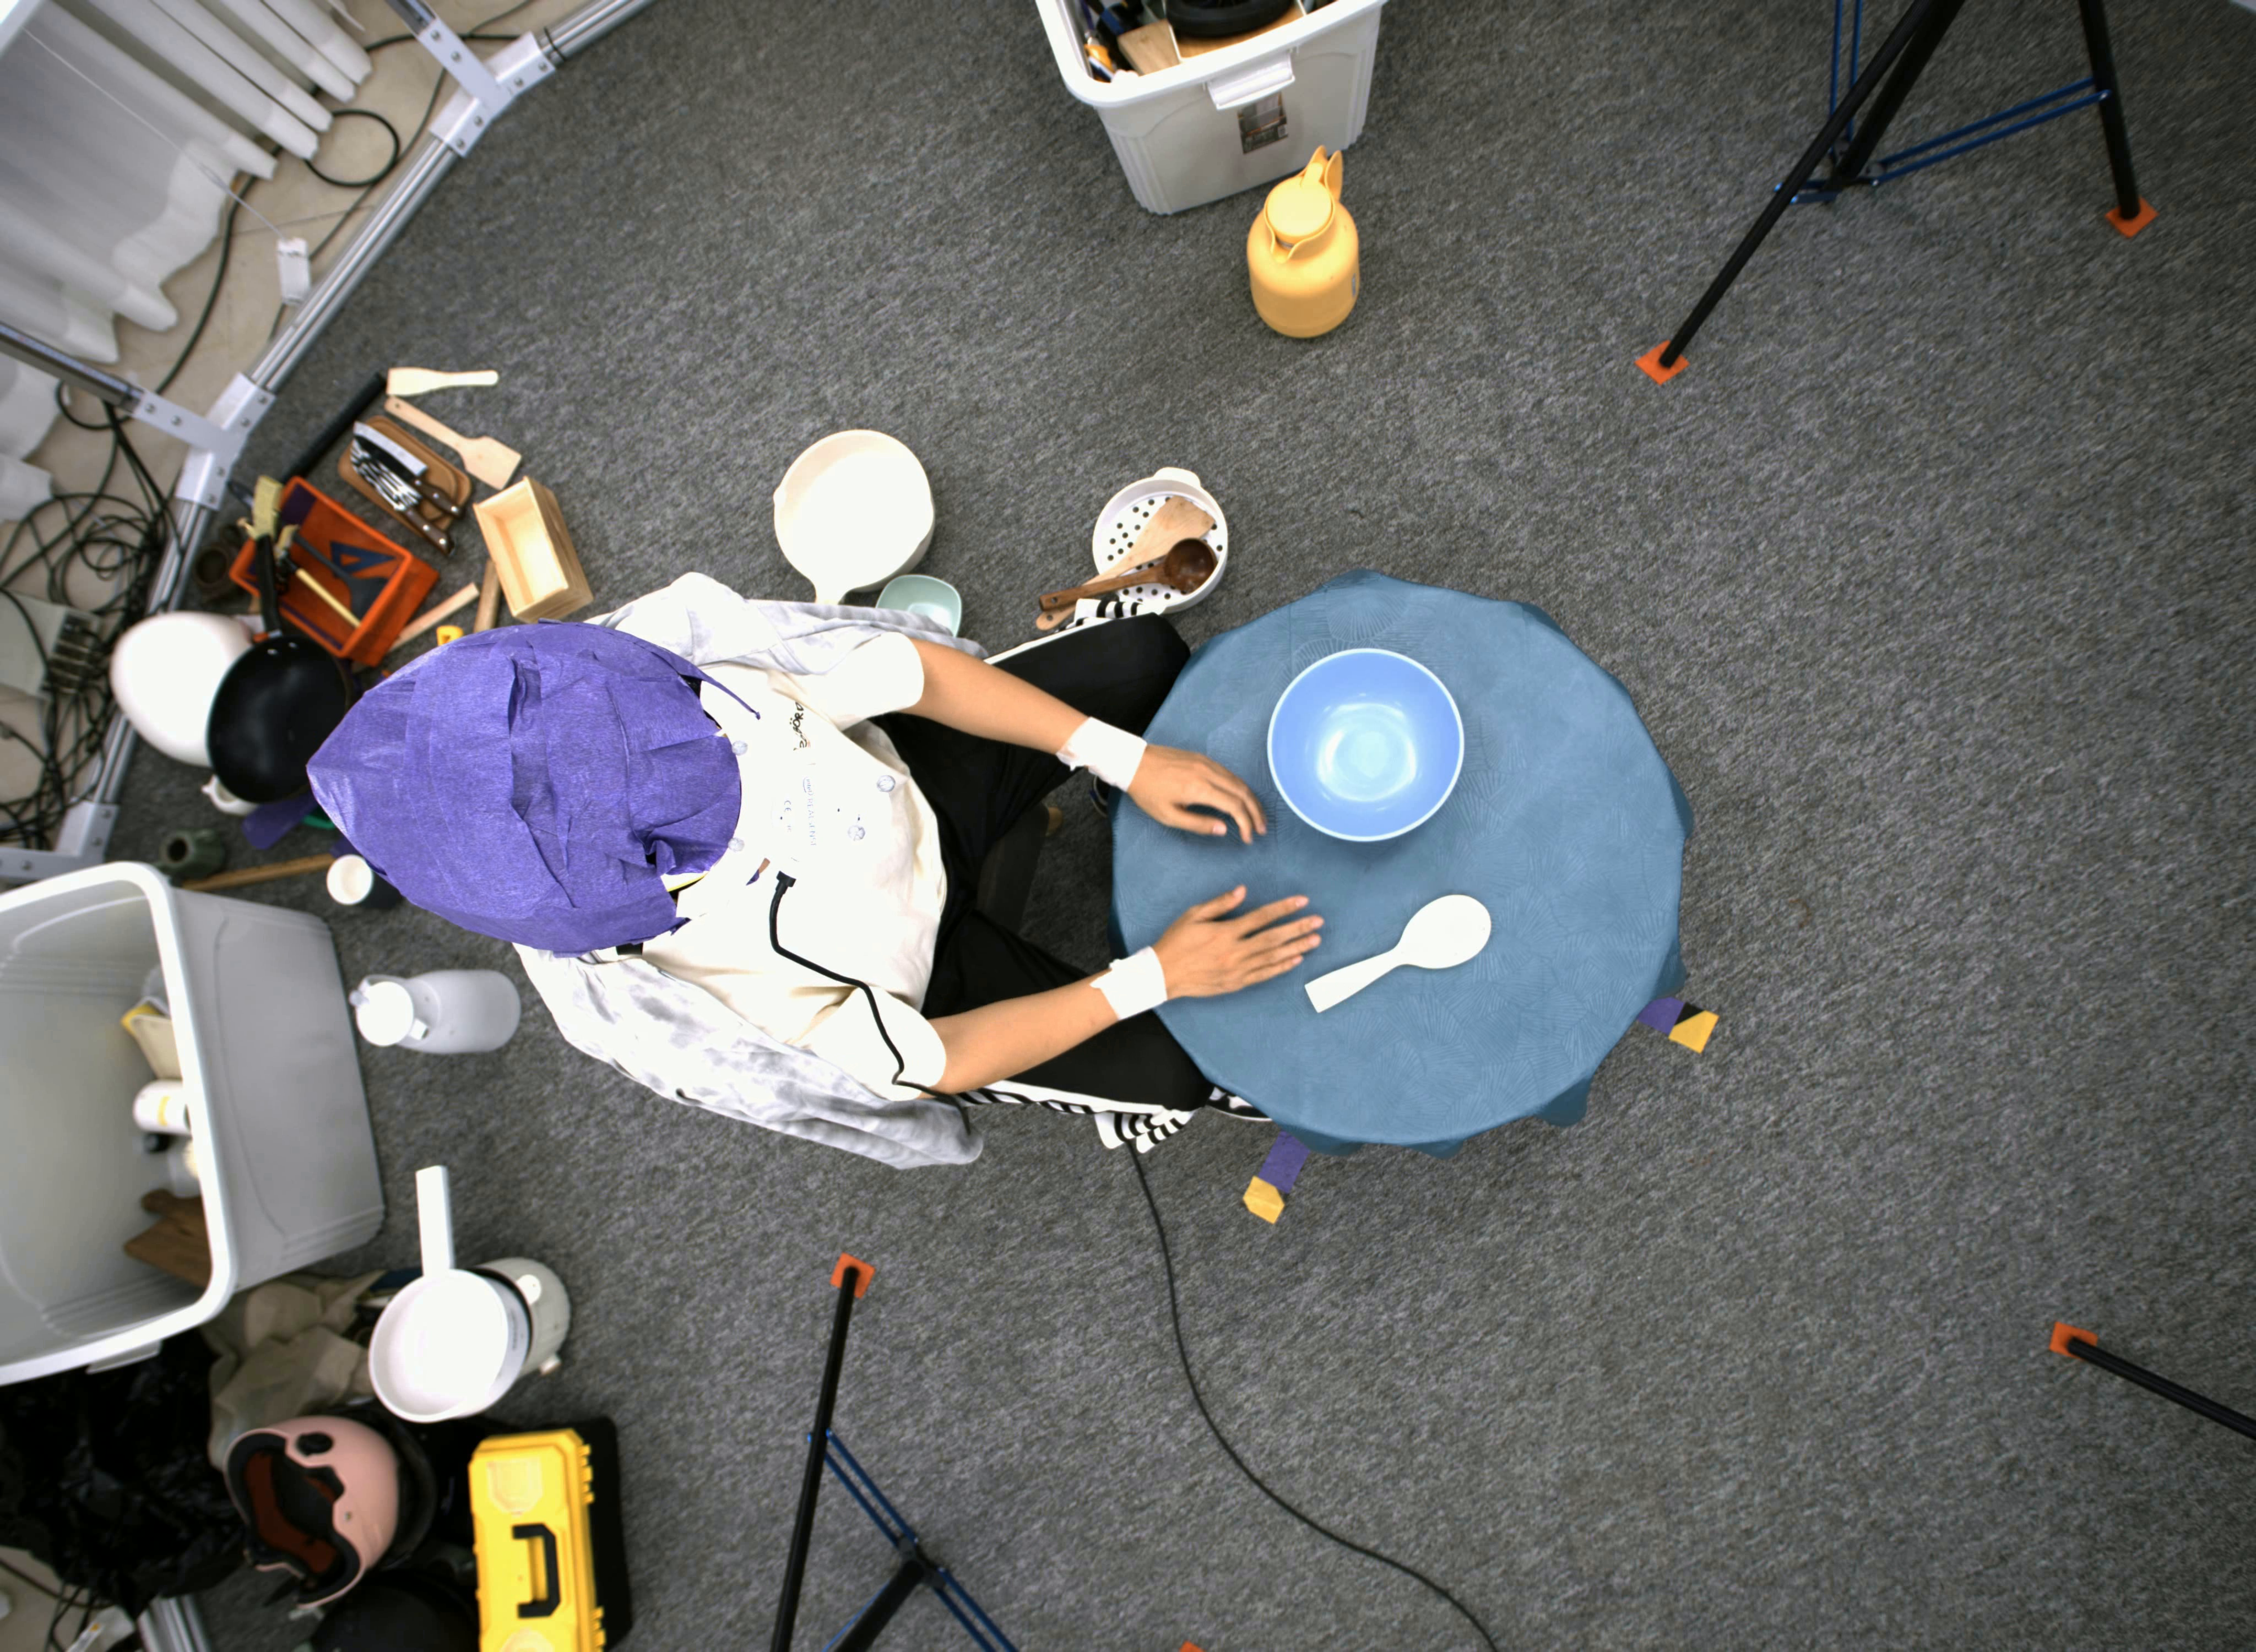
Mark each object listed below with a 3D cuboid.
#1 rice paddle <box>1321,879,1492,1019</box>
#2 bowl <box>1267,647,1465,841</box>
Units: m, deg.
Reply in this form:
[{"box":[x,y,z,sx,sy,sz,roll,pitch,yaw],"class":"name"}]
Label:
[{"box":[0.291,0.127,1.441,0.207,0.029,0.068,-38,68,10],"class":"rice paddle"},{"box":[0.244,-0.080,1.422,0.197,0.095,0.196,-1,87,9],"class":"bowl"}]
